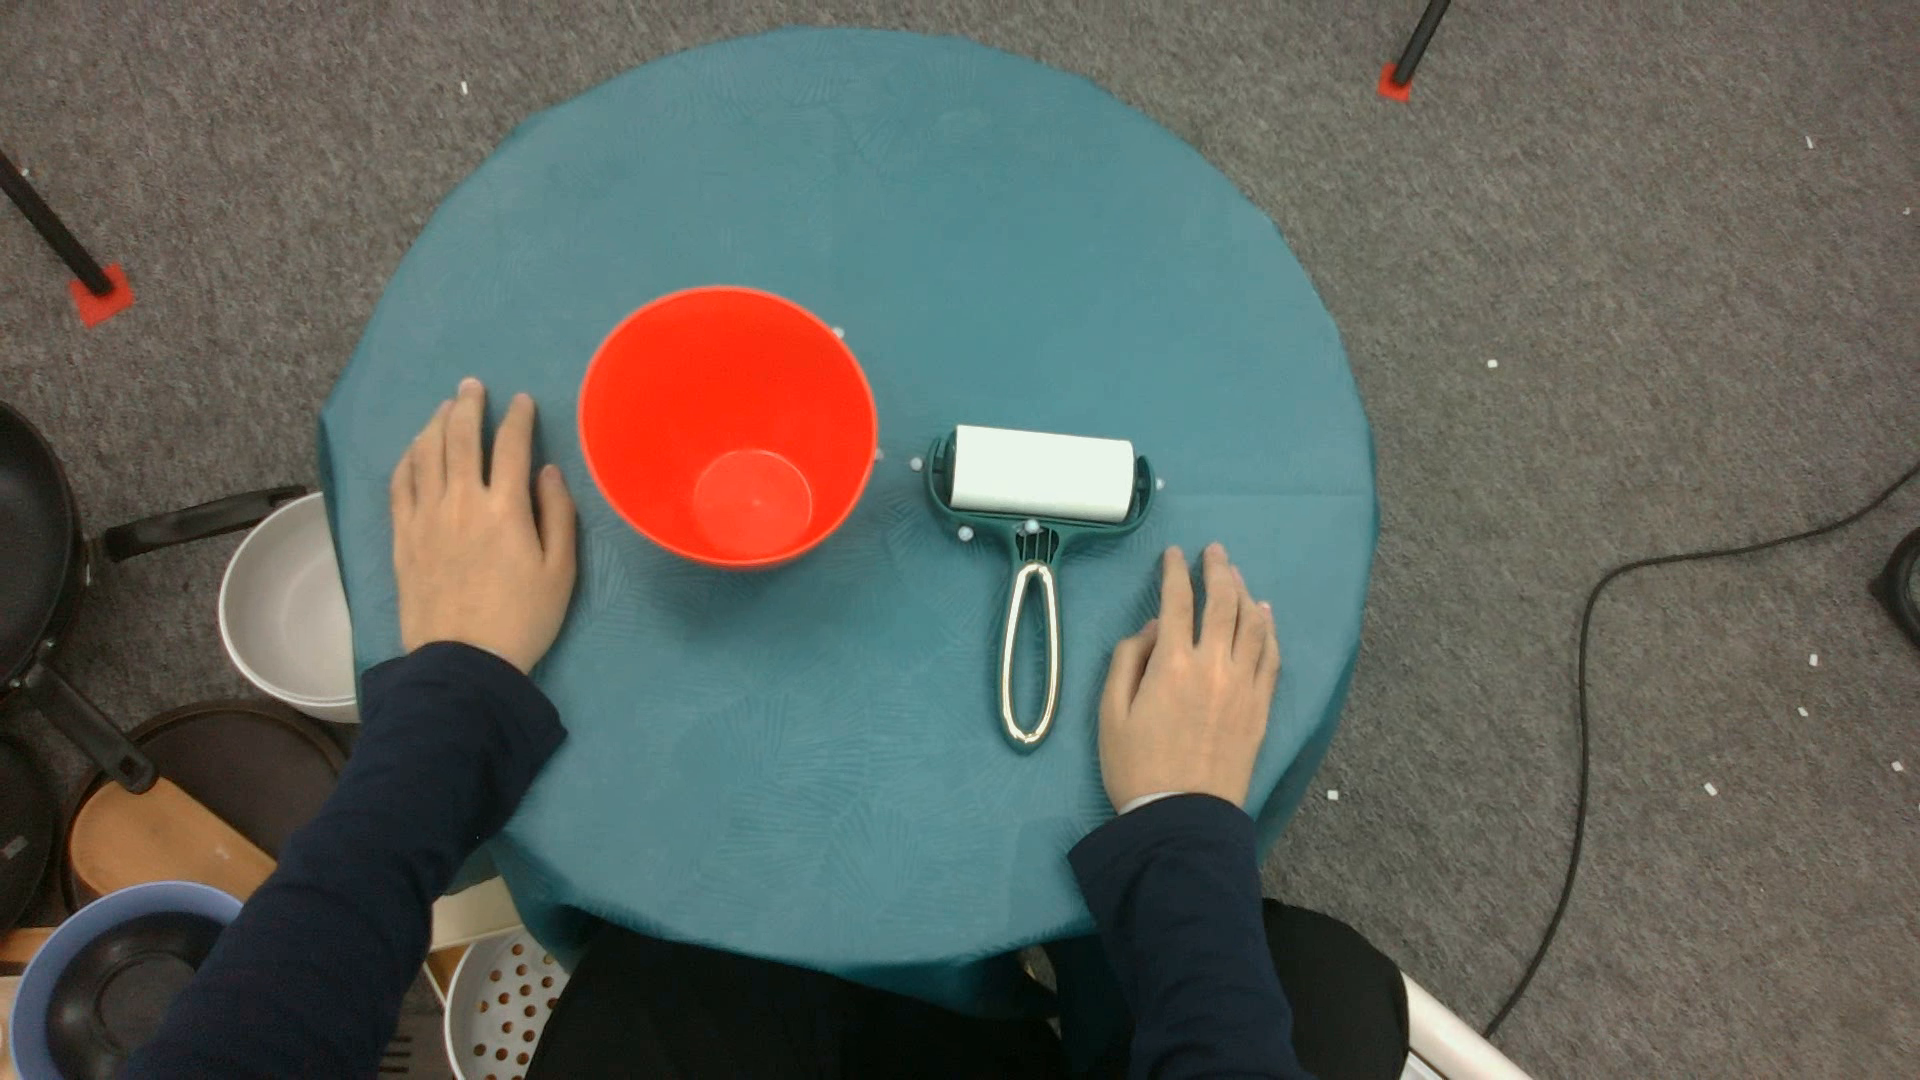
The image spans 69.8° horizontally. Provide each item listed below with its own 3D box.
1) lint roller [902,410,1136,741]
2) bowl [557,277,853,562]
[{"bbox_3d":[0.029,0.017,0.758,0.134,0.048,0.180,5,71,-6],"label":"lint roller"},{"bbox_3d":[-0.131,-0.051,0.734,0.148,0.104,0.148,2,70,-6],"label":"bowl"}]
